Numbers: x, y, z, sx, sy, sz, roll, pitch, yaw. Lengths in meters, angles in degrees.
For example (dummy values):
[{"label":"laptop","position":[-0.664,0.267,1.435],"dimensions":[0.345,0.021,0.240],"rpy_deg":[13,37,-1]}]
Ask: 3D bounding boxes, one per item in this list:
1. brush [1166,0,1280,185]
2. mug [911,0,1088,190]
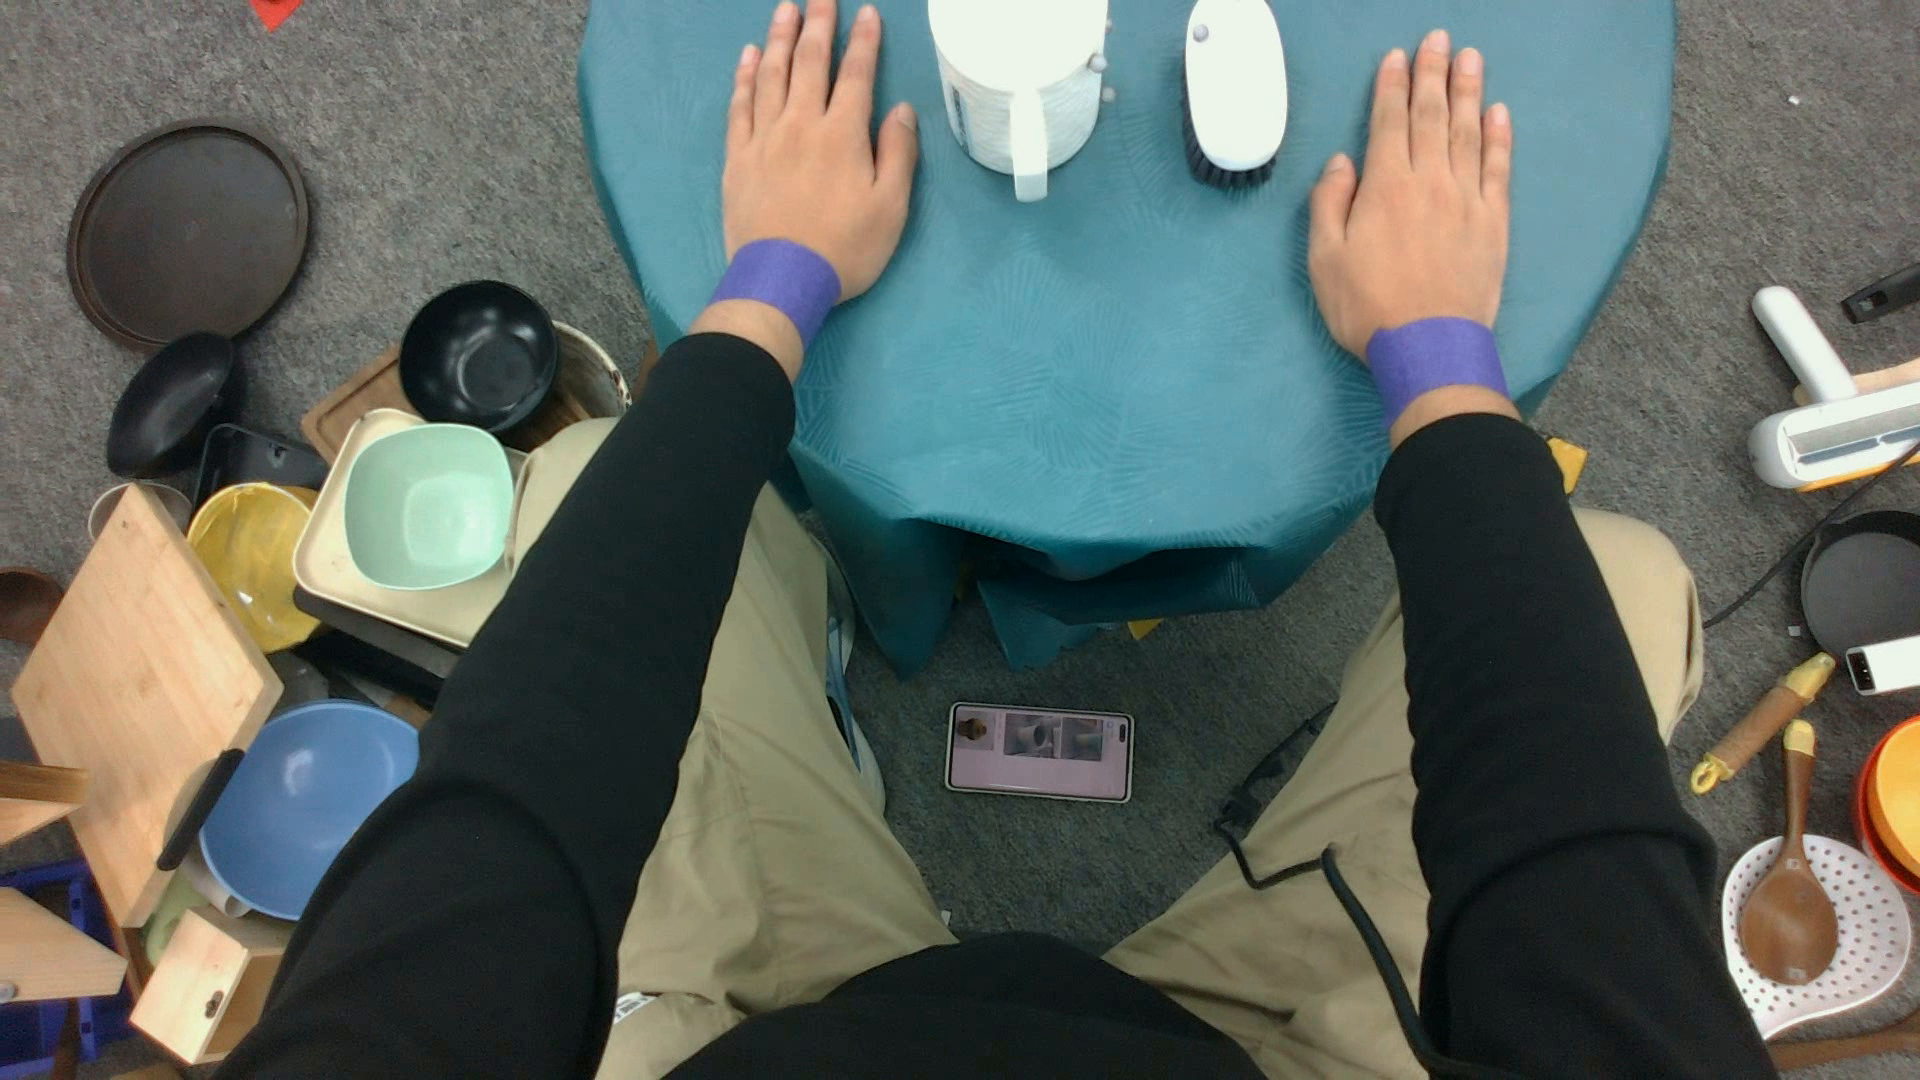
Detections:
[{"label":"brush","position":[0.137,-0.245,0.715],"dimensions":[0.050,0.072,0.099],"rpy_deg":[-13,75,5]},{"label":"mug","position":[0.023,-0.236,0.704],"dimensions":[0.085,0.102,0.118],"rpy_deg":[-6,79,2]}]
